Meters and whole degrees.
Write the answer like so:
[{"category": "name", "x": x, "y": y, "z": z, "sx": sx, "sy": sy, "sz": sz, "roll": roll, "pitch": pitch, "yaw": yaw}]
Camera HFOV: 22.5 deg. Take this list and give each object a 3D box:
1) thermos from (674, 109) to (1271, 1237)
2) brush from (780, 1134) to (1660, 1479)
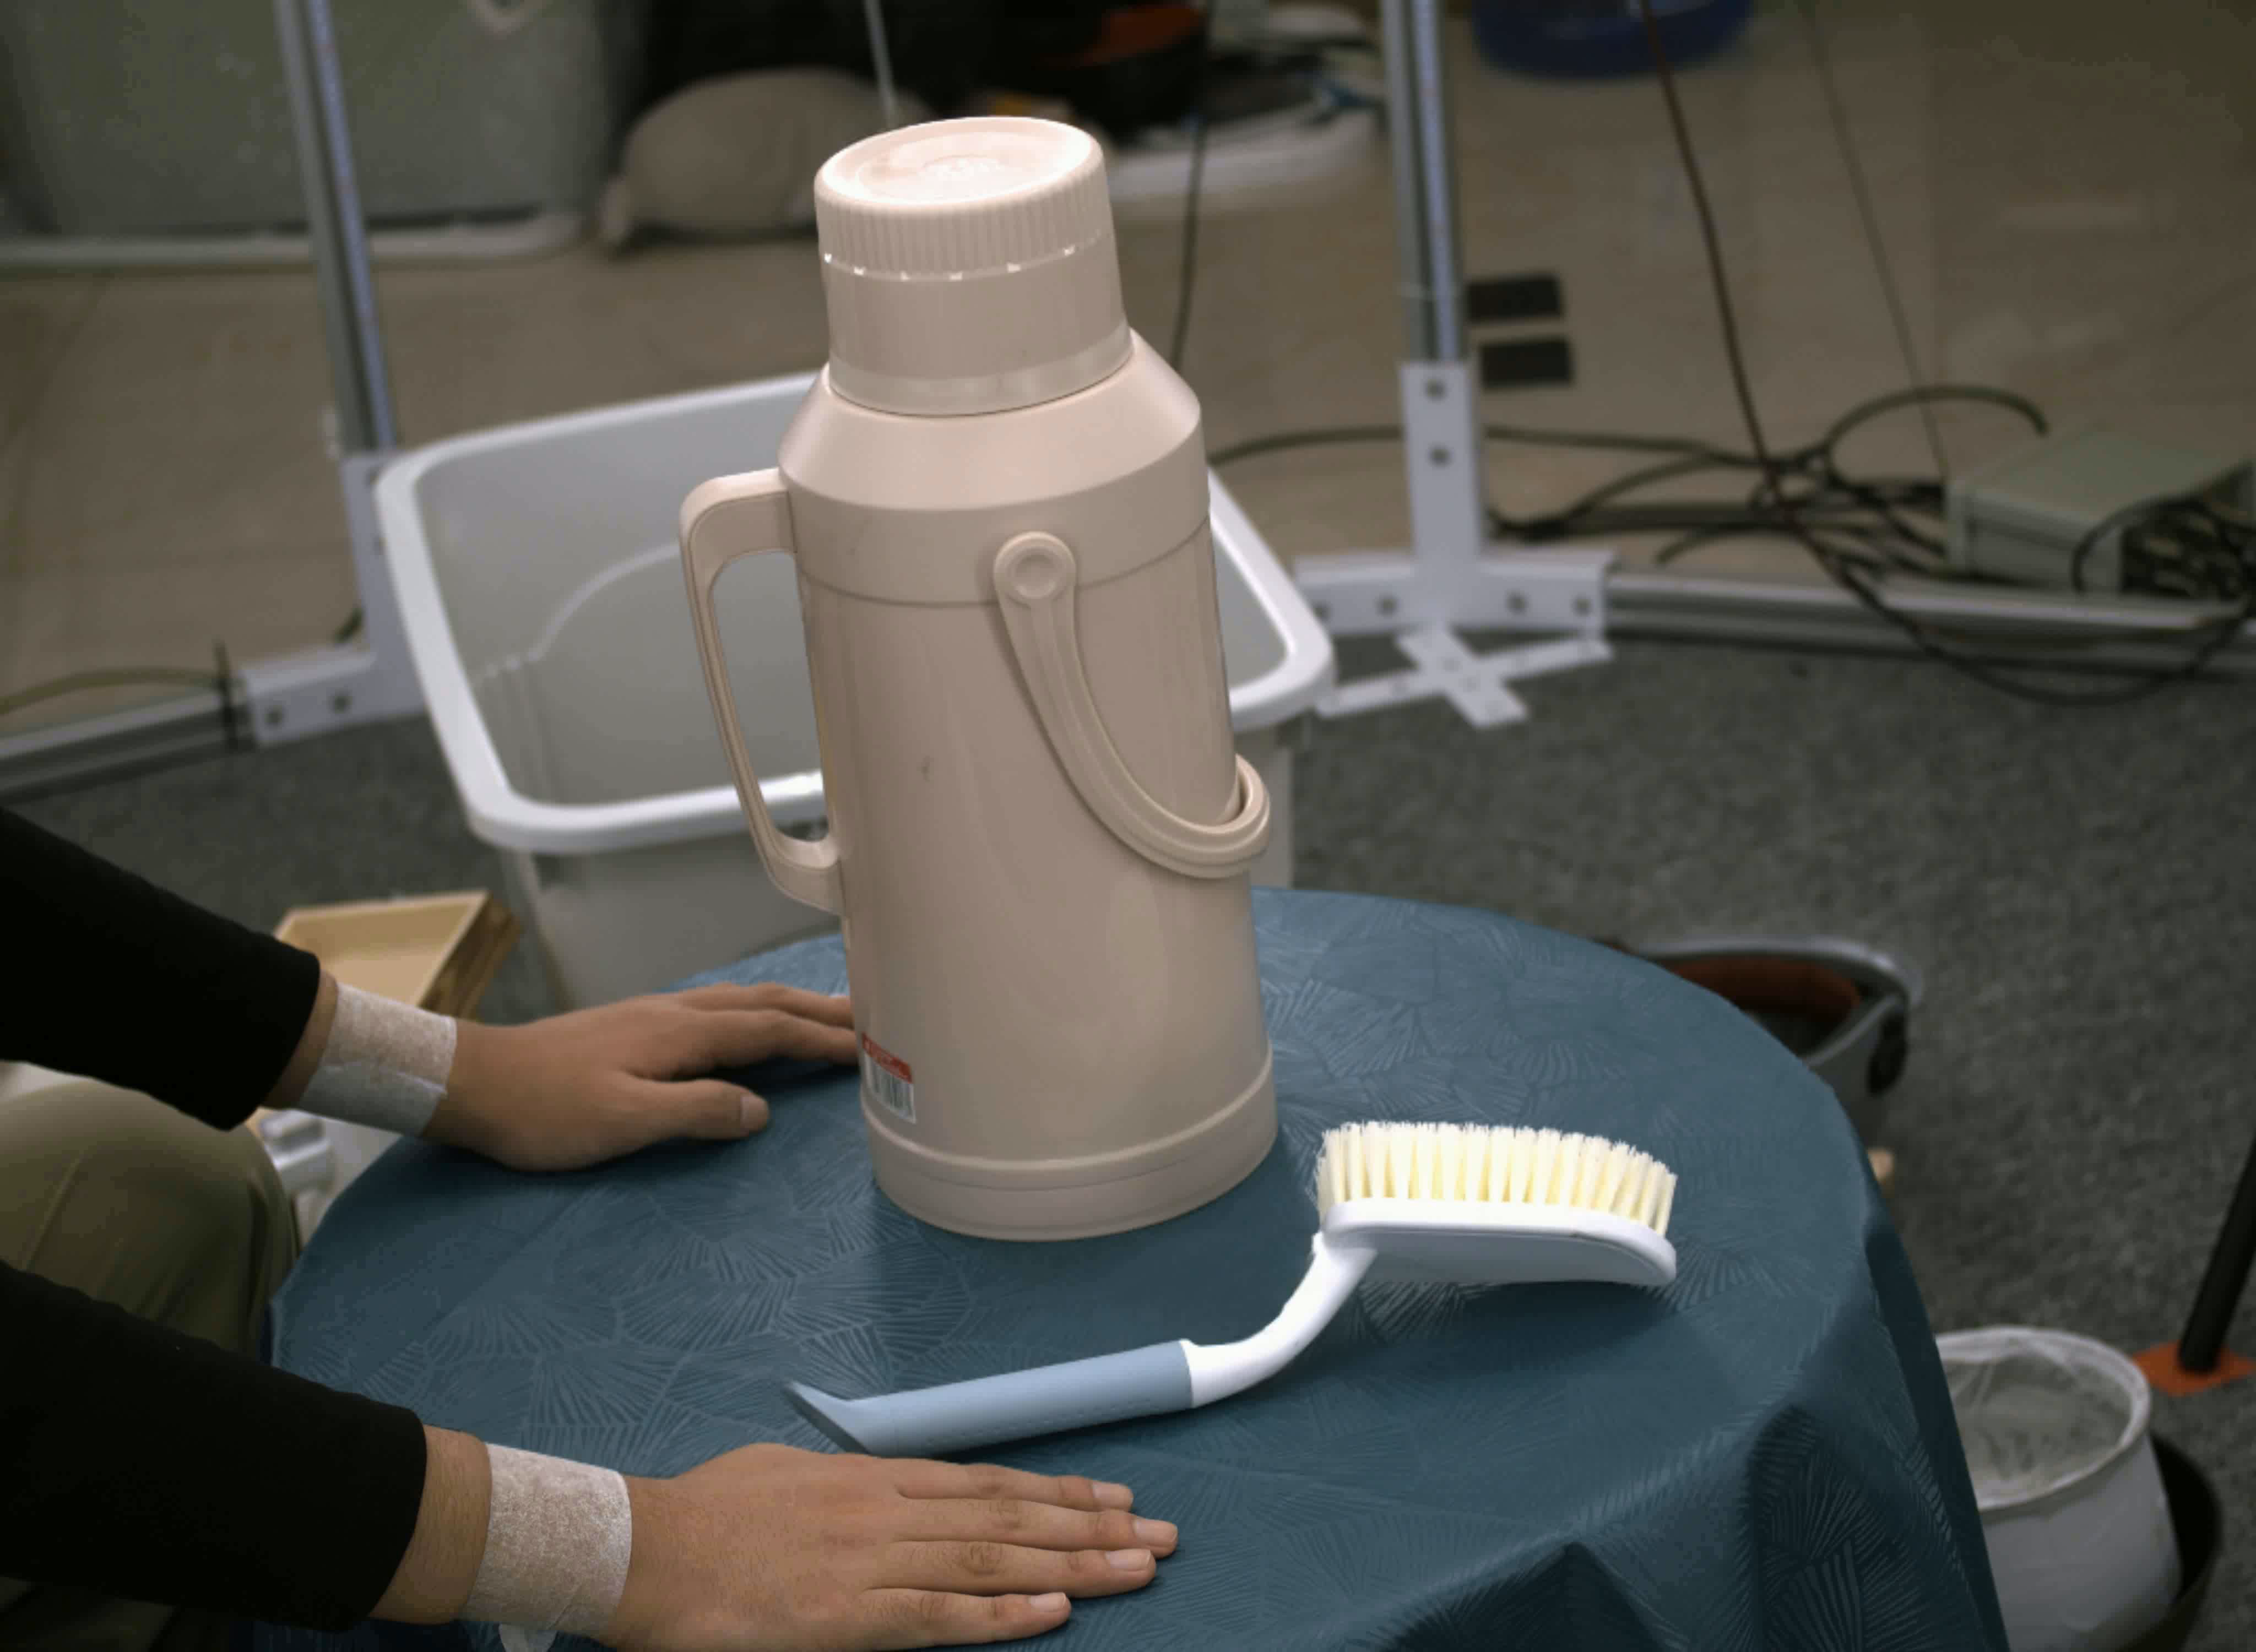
[{"category": "thermos", "x": -0.056, "y": -0.056, "z": 2.102, "sx": 0.206, "sy": 0.413, "sz": 0.173, "roll": -10, "pitch": 28, "yaw": -8}, {"category": "brush", "x": 0.031, "y": 0.155, "z": 2.010, "sx": 0.324, "sy": 0.084, "sz": 0.083, "roll": -9, "pitch": 31, "yaw": -10}]
